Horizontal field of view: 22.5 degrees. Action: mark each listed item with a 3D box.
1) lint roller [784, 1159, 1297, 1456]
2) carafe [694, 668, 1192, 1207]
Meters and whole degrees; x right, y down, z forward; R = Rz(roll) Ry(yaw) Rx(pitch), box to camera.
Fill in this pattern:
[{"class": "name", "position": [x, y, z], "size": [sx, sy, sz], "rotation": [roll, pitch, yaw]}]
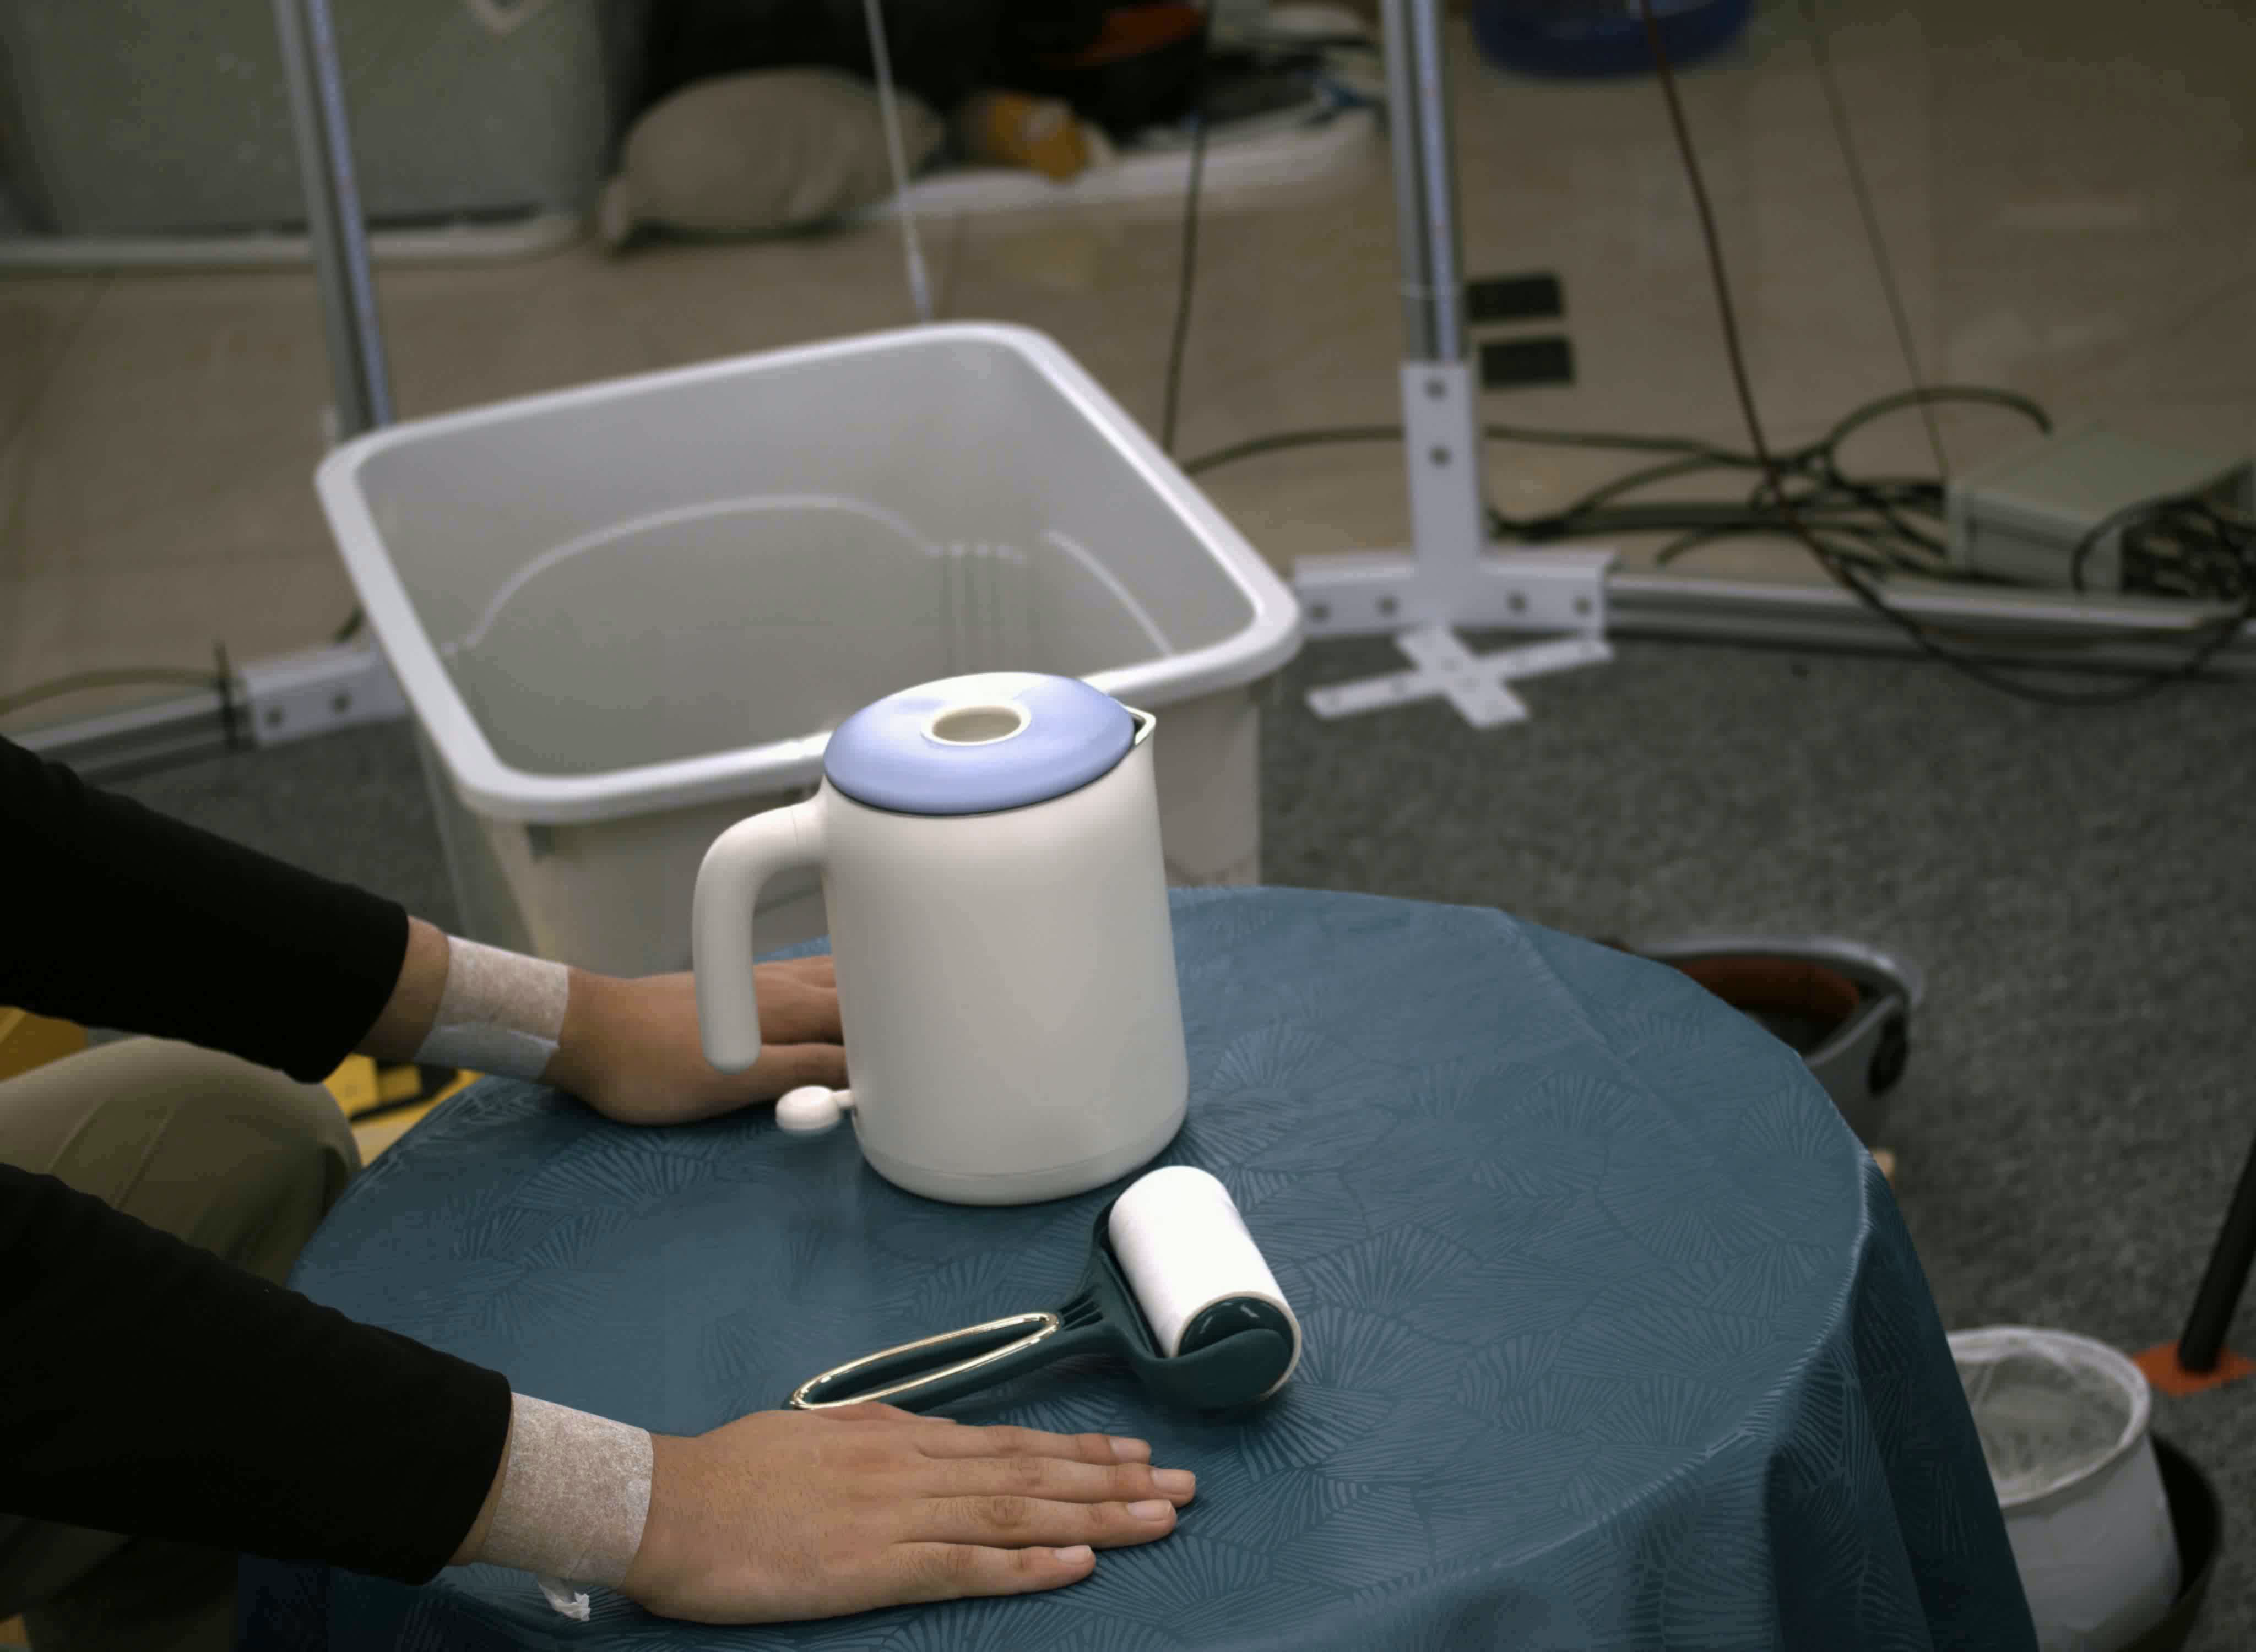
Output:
[{"class": "lint roller", "position": [-0.039, 0.180, 2.020], "size": [0.179, 0.049, 0.132], "rotation": [-13, 25, -8]}, {"class": "carafe", "position": [-0.072, 0.047, 2.157], "size": [0.190, 0.185, 0.130], "rotation": [-13, 26, -8]}]
